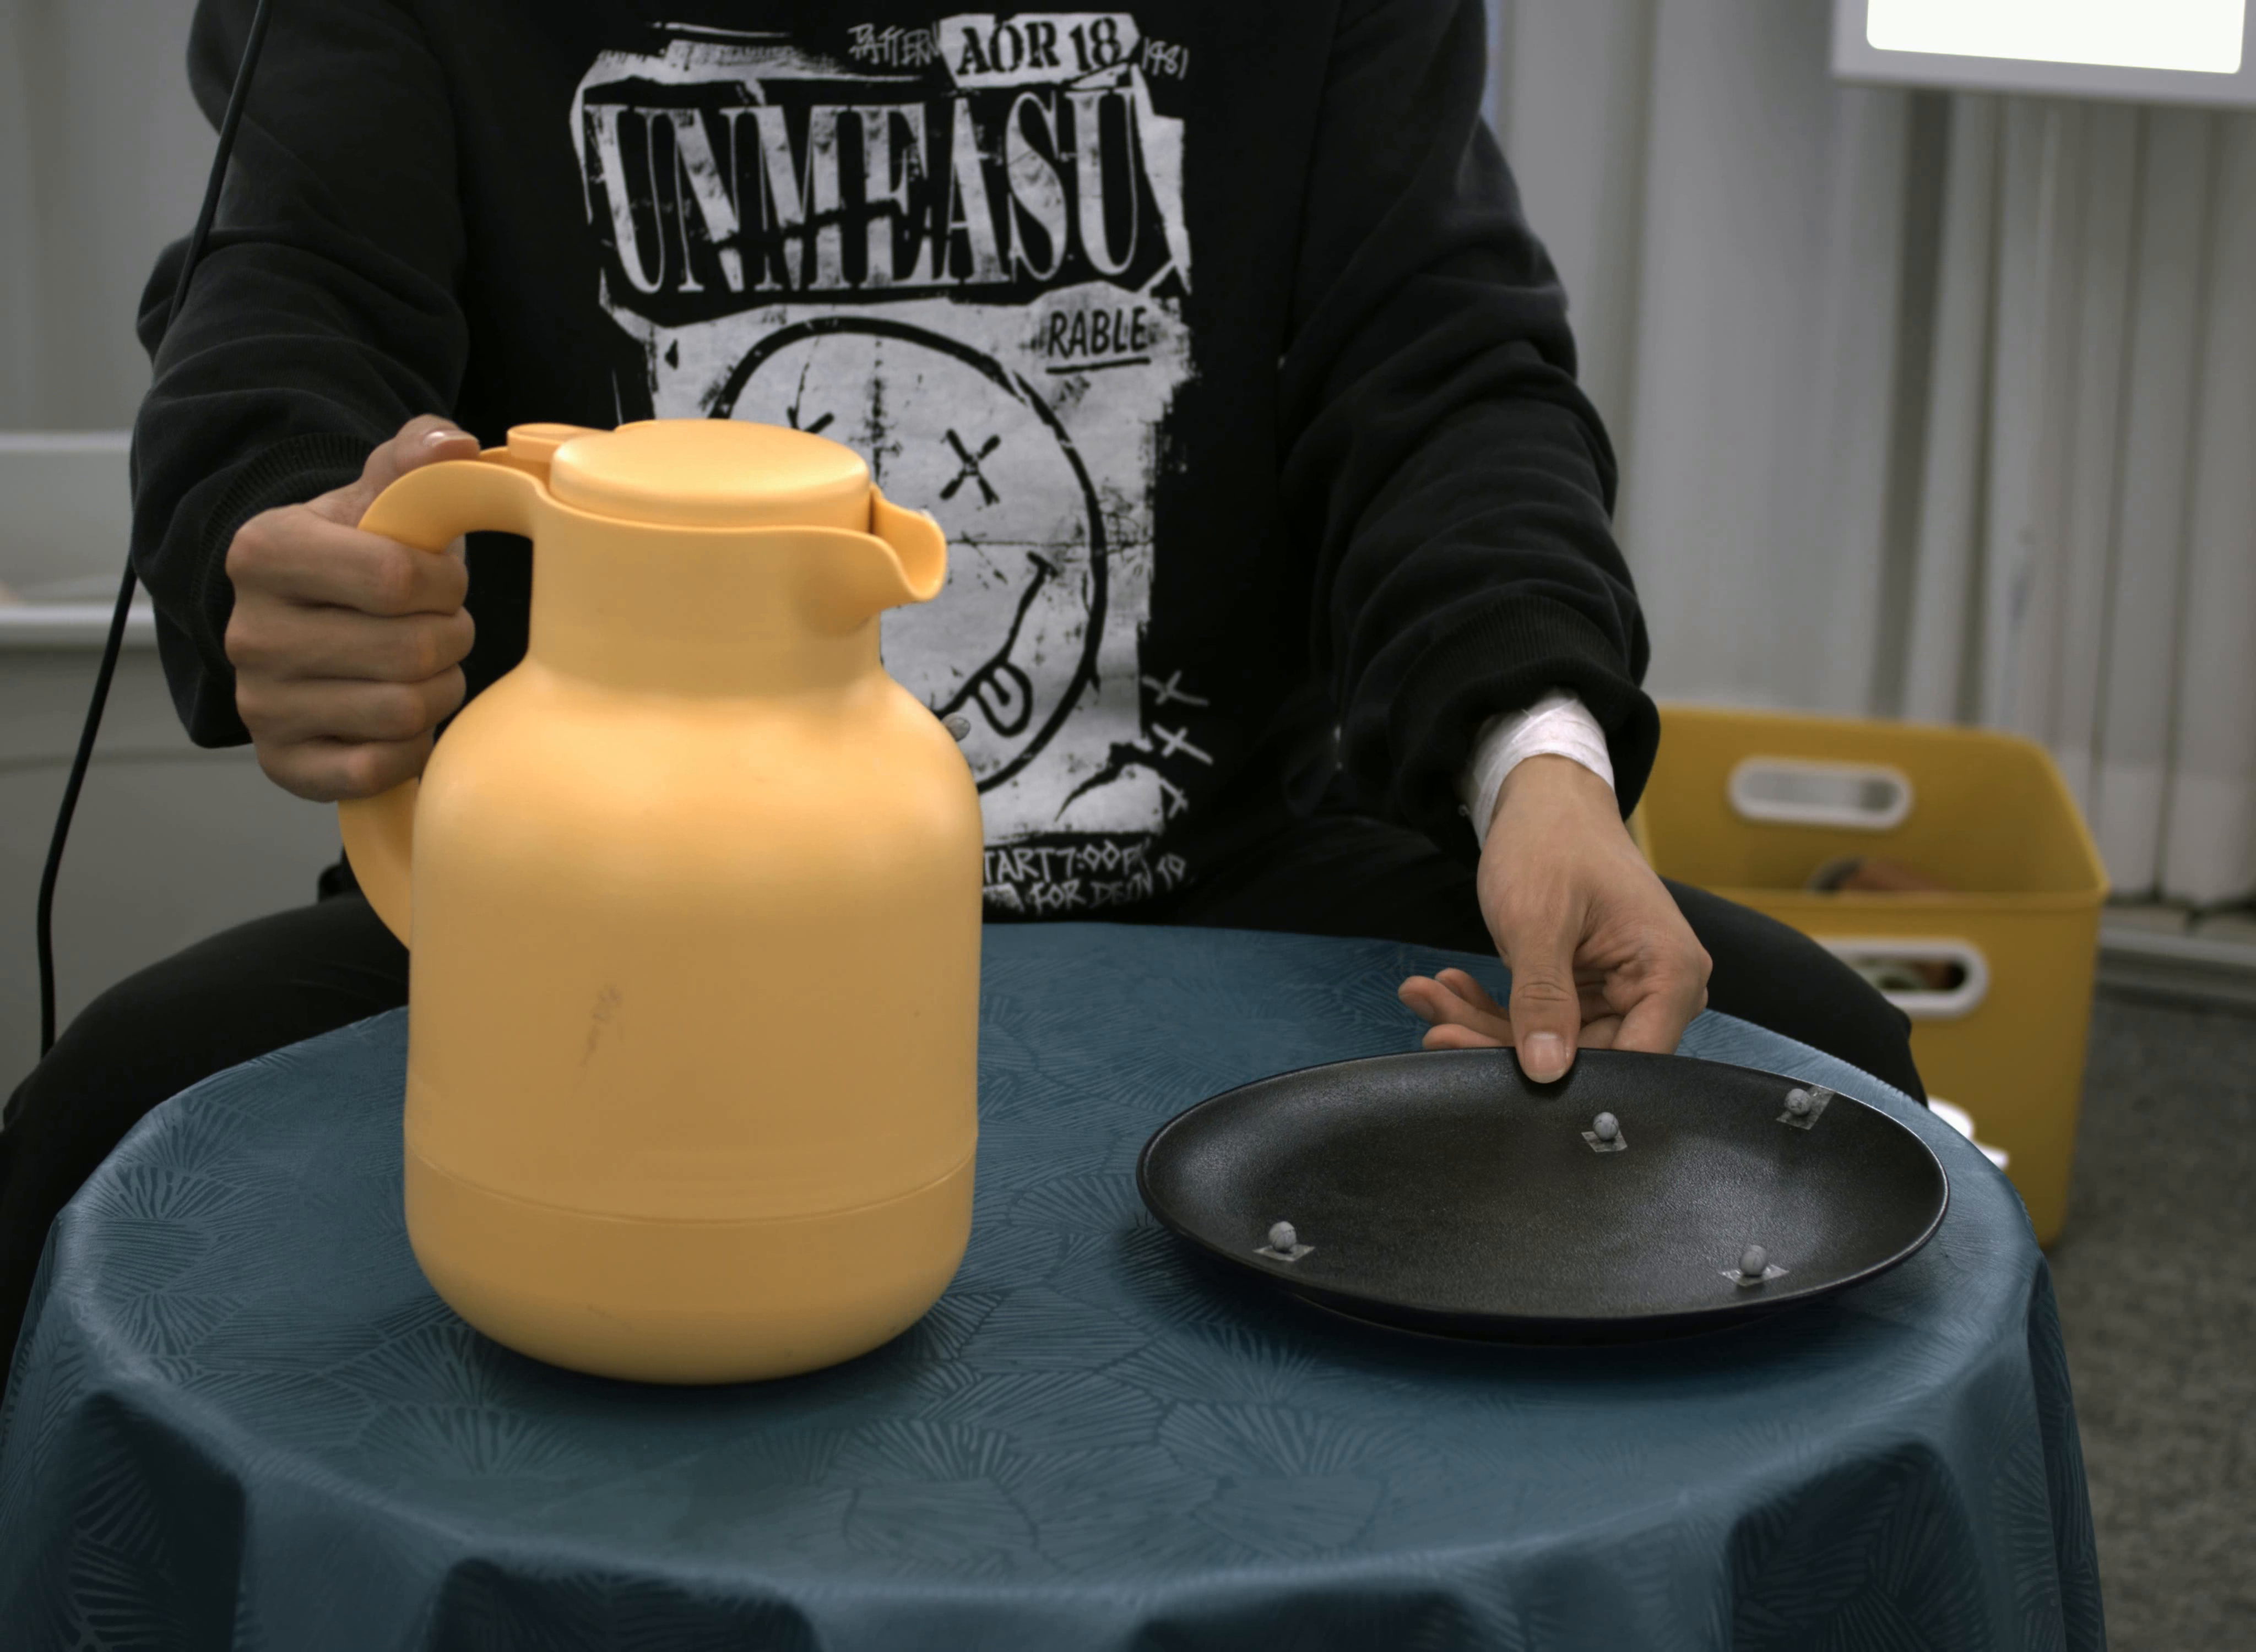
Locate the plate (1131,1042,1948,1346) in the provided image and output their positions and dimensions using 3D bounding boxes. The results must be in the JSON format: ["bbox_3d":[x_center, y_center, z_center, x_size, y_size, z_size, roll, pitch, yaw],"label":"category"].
[{"bbox_3d":[0.123,0.113,1.579,0.243,0.023,0.243,1,16,0],"label":"plate"}]

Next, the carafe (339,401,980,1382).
[{"bbox_3d":[-0.138,0.010,1.482,0.200,0.262,0.164,15,18,31],"label":"carafe"}]
